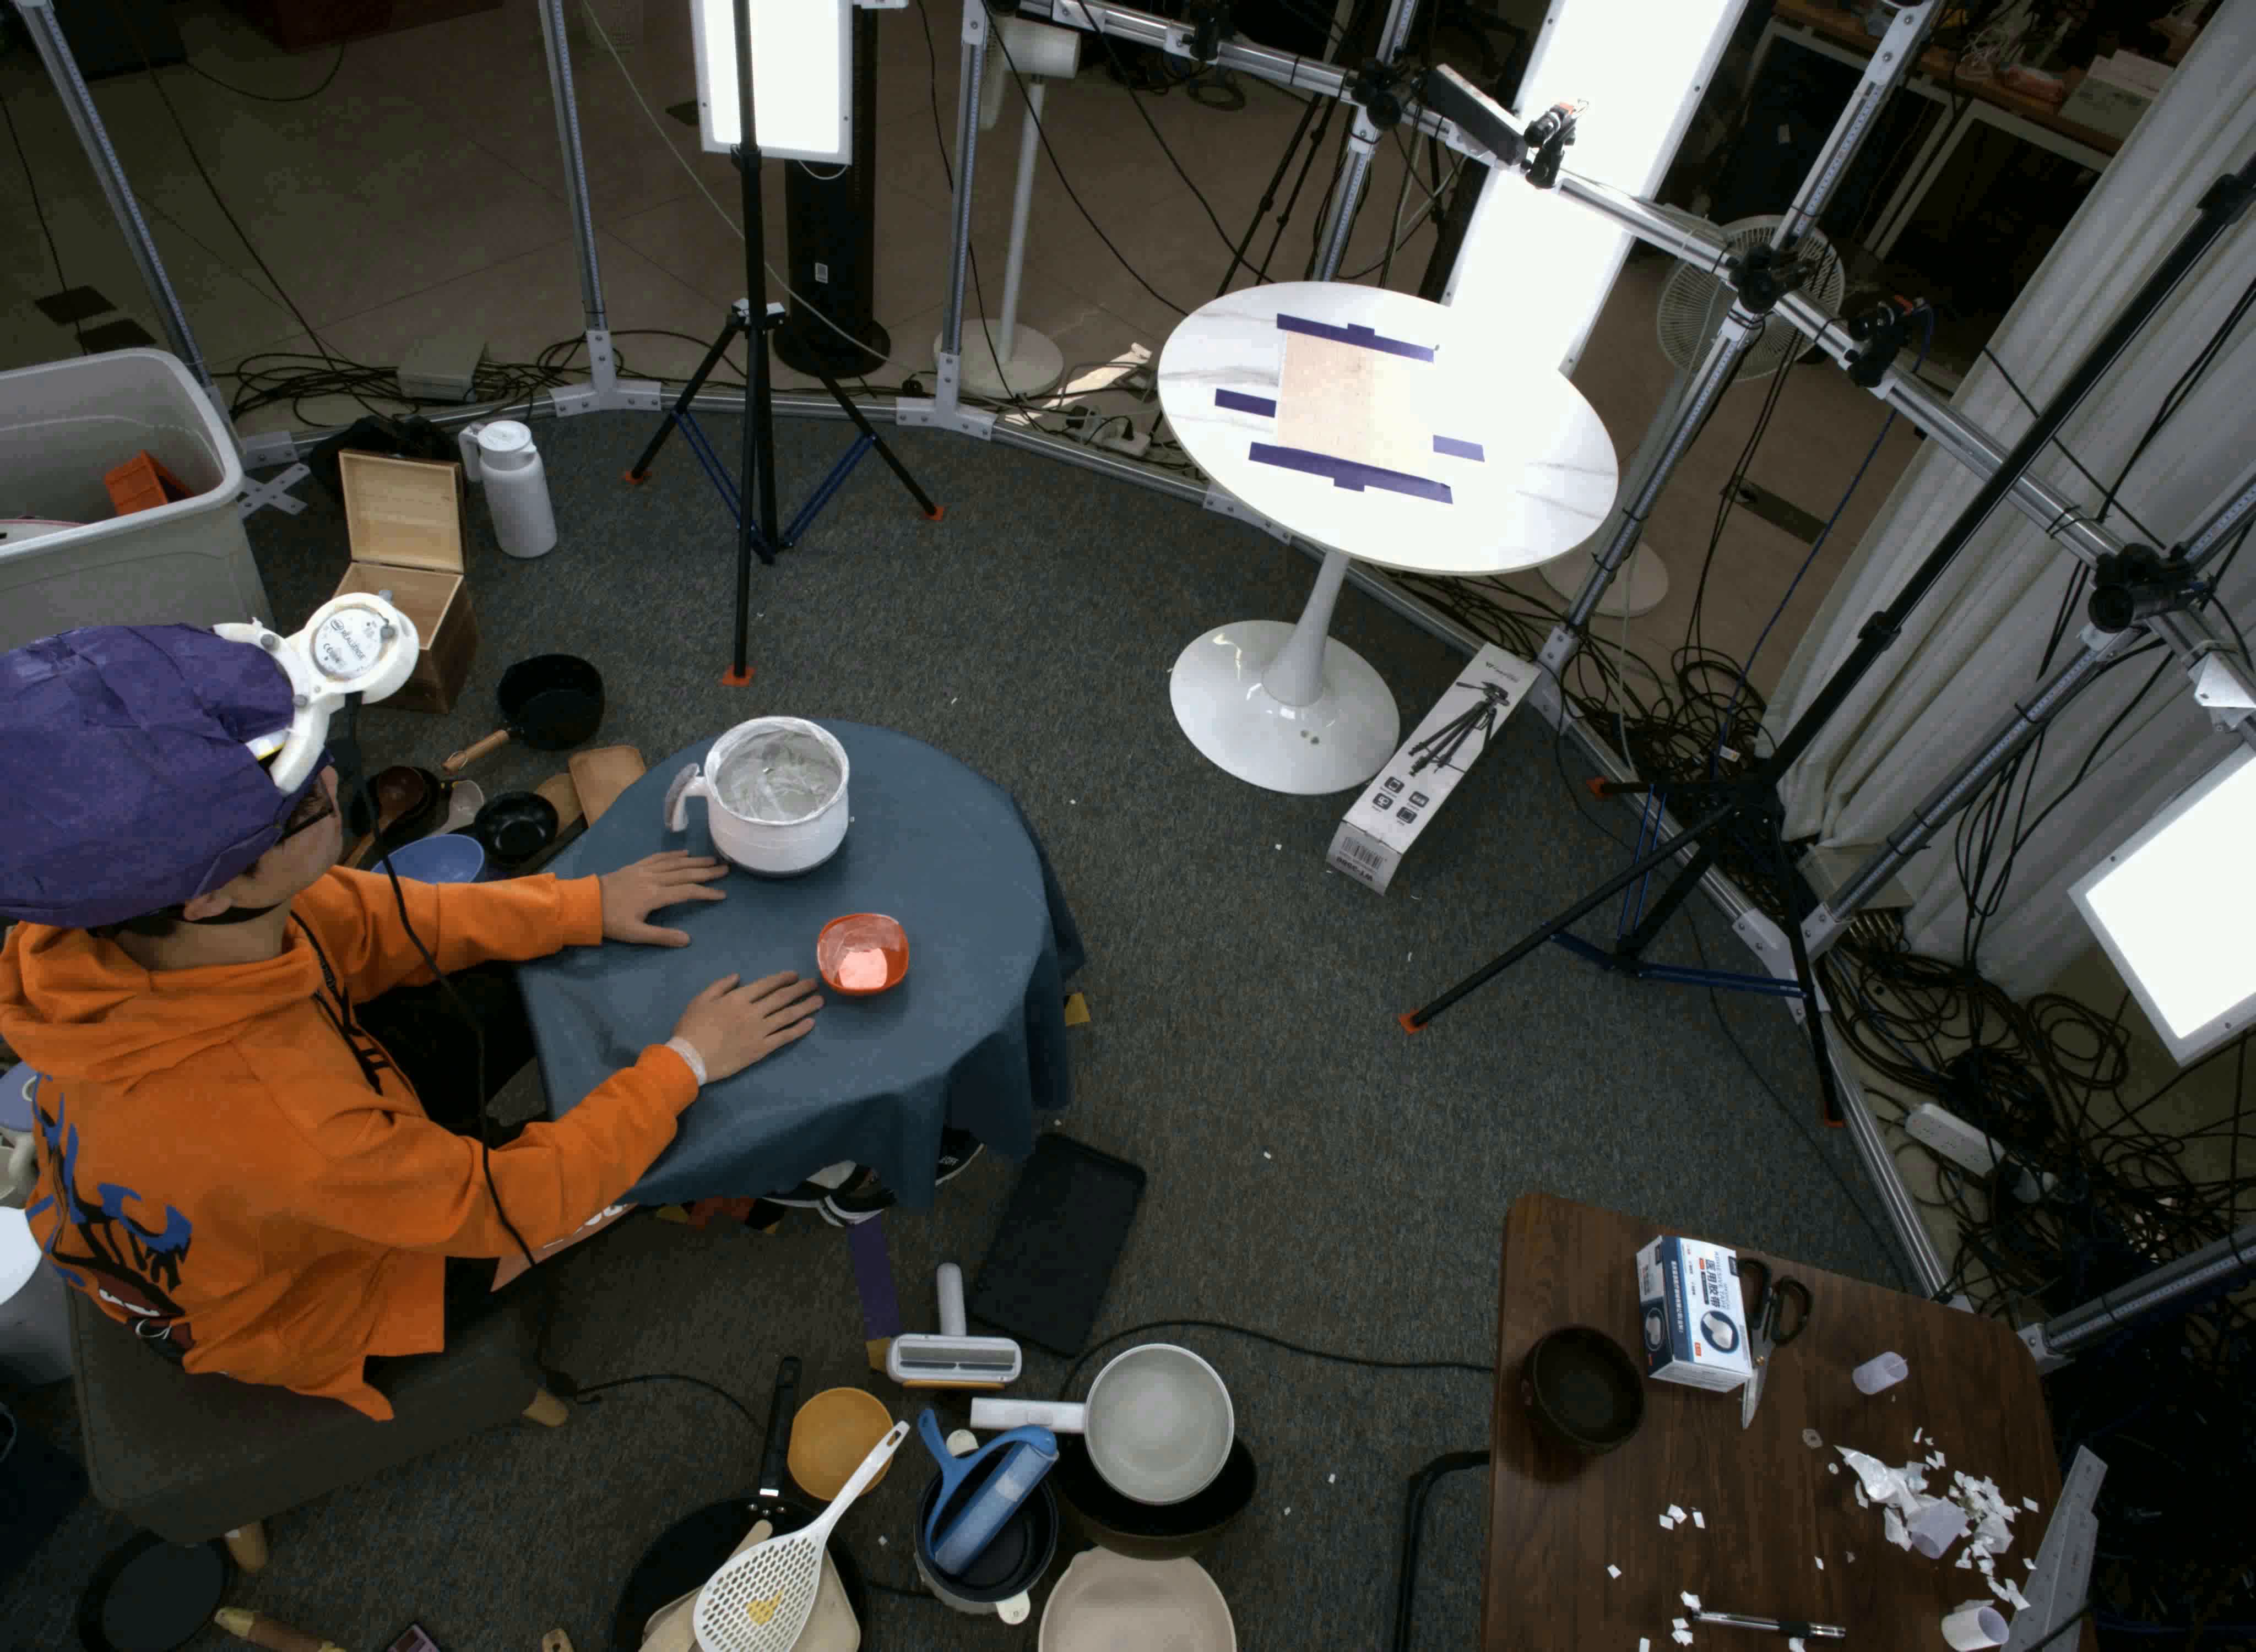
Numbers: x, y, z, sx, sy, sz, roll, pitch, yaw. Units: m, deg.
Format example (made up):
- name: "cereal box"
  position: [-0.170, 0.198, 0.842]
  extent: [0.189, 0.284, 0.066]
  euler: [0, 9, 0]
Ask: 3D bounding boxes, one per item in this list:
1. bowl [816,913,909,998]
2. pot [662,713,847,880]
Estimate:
- name: "bowl"
  position: [-0.324, 0.164, 1.584]
  extent: [0.119, 0.052, 0.117]
  euler: [9, 53, -10]
- name: "pot"
  position: [-0.473, -0.033, 1.637]
  extent: [0.234, 0.139, 0.174]
  euler: [-1, 53, -15]
